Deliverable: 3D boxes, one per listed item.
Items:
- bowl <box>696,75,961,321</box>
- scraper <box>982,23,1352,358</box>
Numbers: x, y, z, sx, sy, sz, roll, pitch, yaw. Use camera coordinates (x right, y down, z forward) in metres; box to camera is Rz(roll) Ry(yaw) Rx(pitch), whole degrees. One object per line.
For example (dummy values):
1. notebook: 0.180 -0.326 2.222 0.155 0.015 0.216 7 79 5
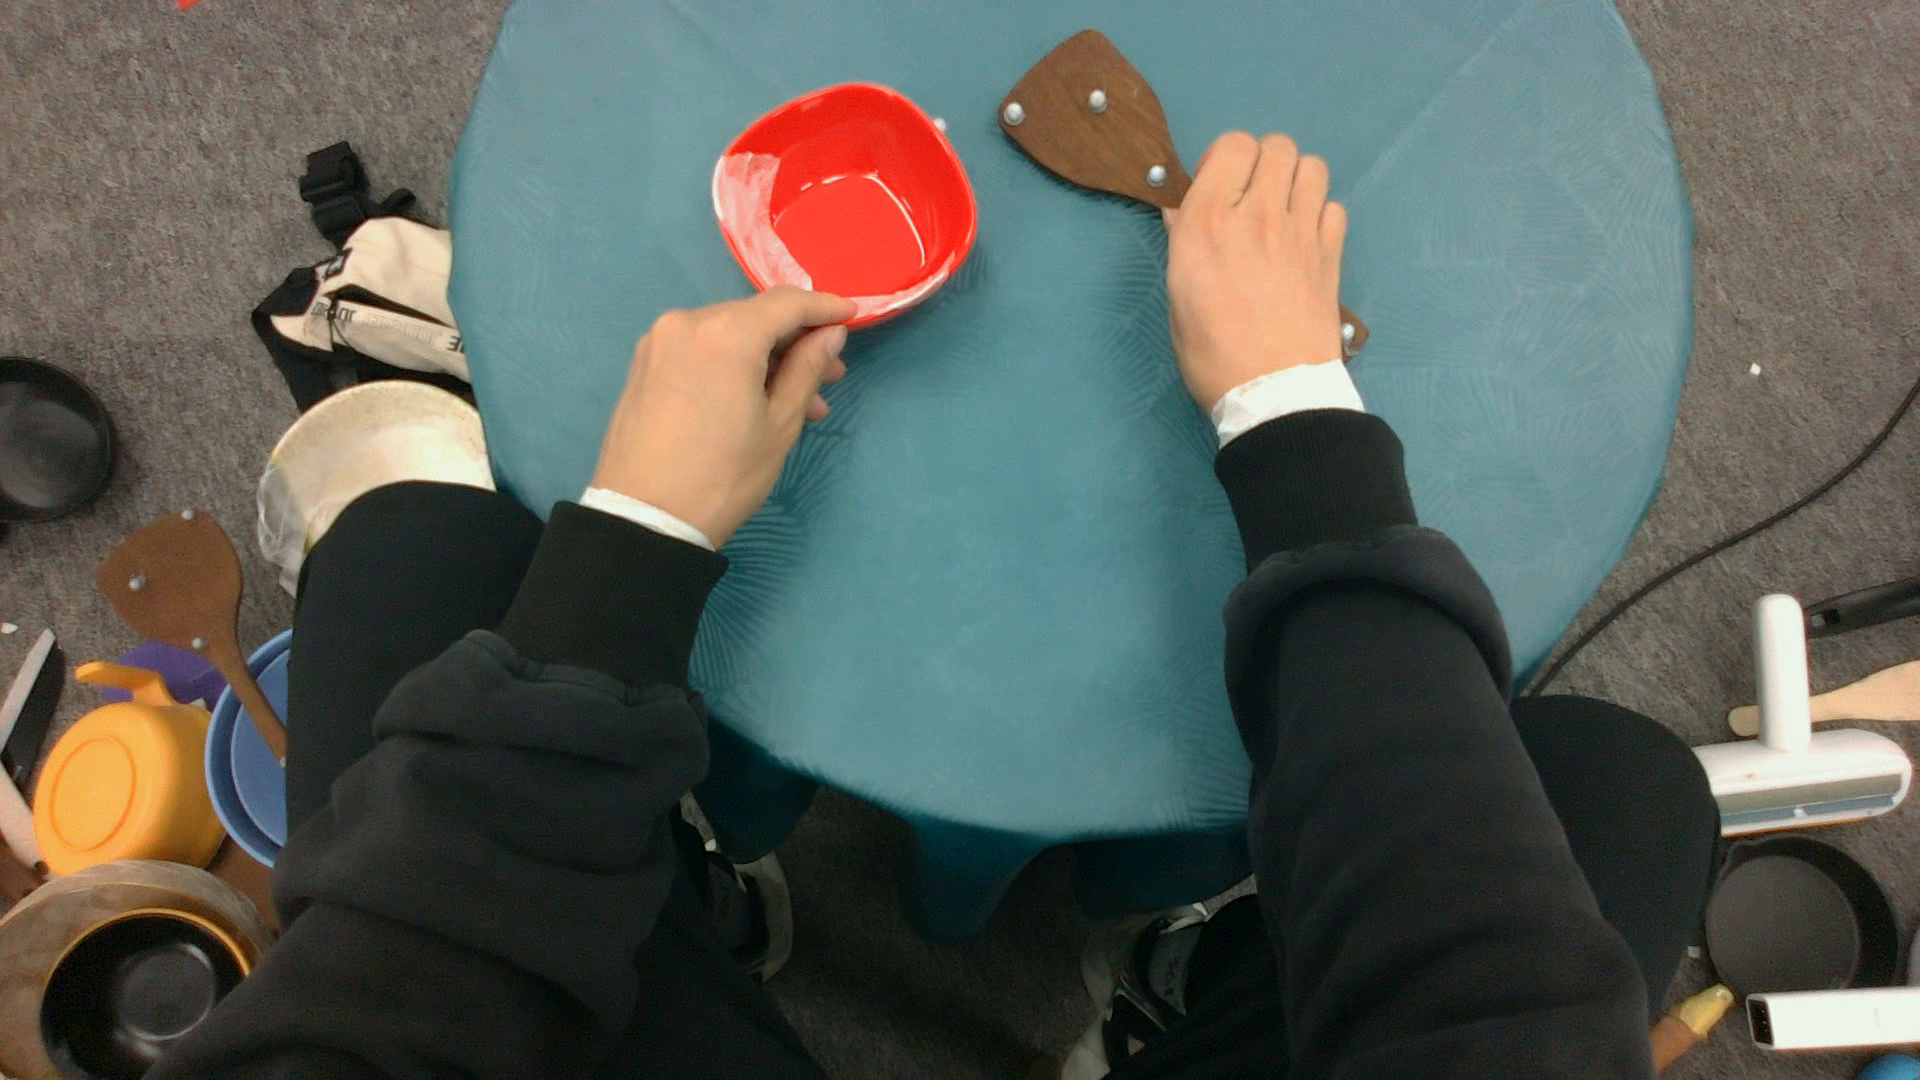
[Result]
1. bowl: -0.060 -0.149 0.635 0.119 0.051 0.119 1 74 -3
2. scraper: 0.104 -0.164 0.664 0.076 0.011 0.211 -43 80 -12
